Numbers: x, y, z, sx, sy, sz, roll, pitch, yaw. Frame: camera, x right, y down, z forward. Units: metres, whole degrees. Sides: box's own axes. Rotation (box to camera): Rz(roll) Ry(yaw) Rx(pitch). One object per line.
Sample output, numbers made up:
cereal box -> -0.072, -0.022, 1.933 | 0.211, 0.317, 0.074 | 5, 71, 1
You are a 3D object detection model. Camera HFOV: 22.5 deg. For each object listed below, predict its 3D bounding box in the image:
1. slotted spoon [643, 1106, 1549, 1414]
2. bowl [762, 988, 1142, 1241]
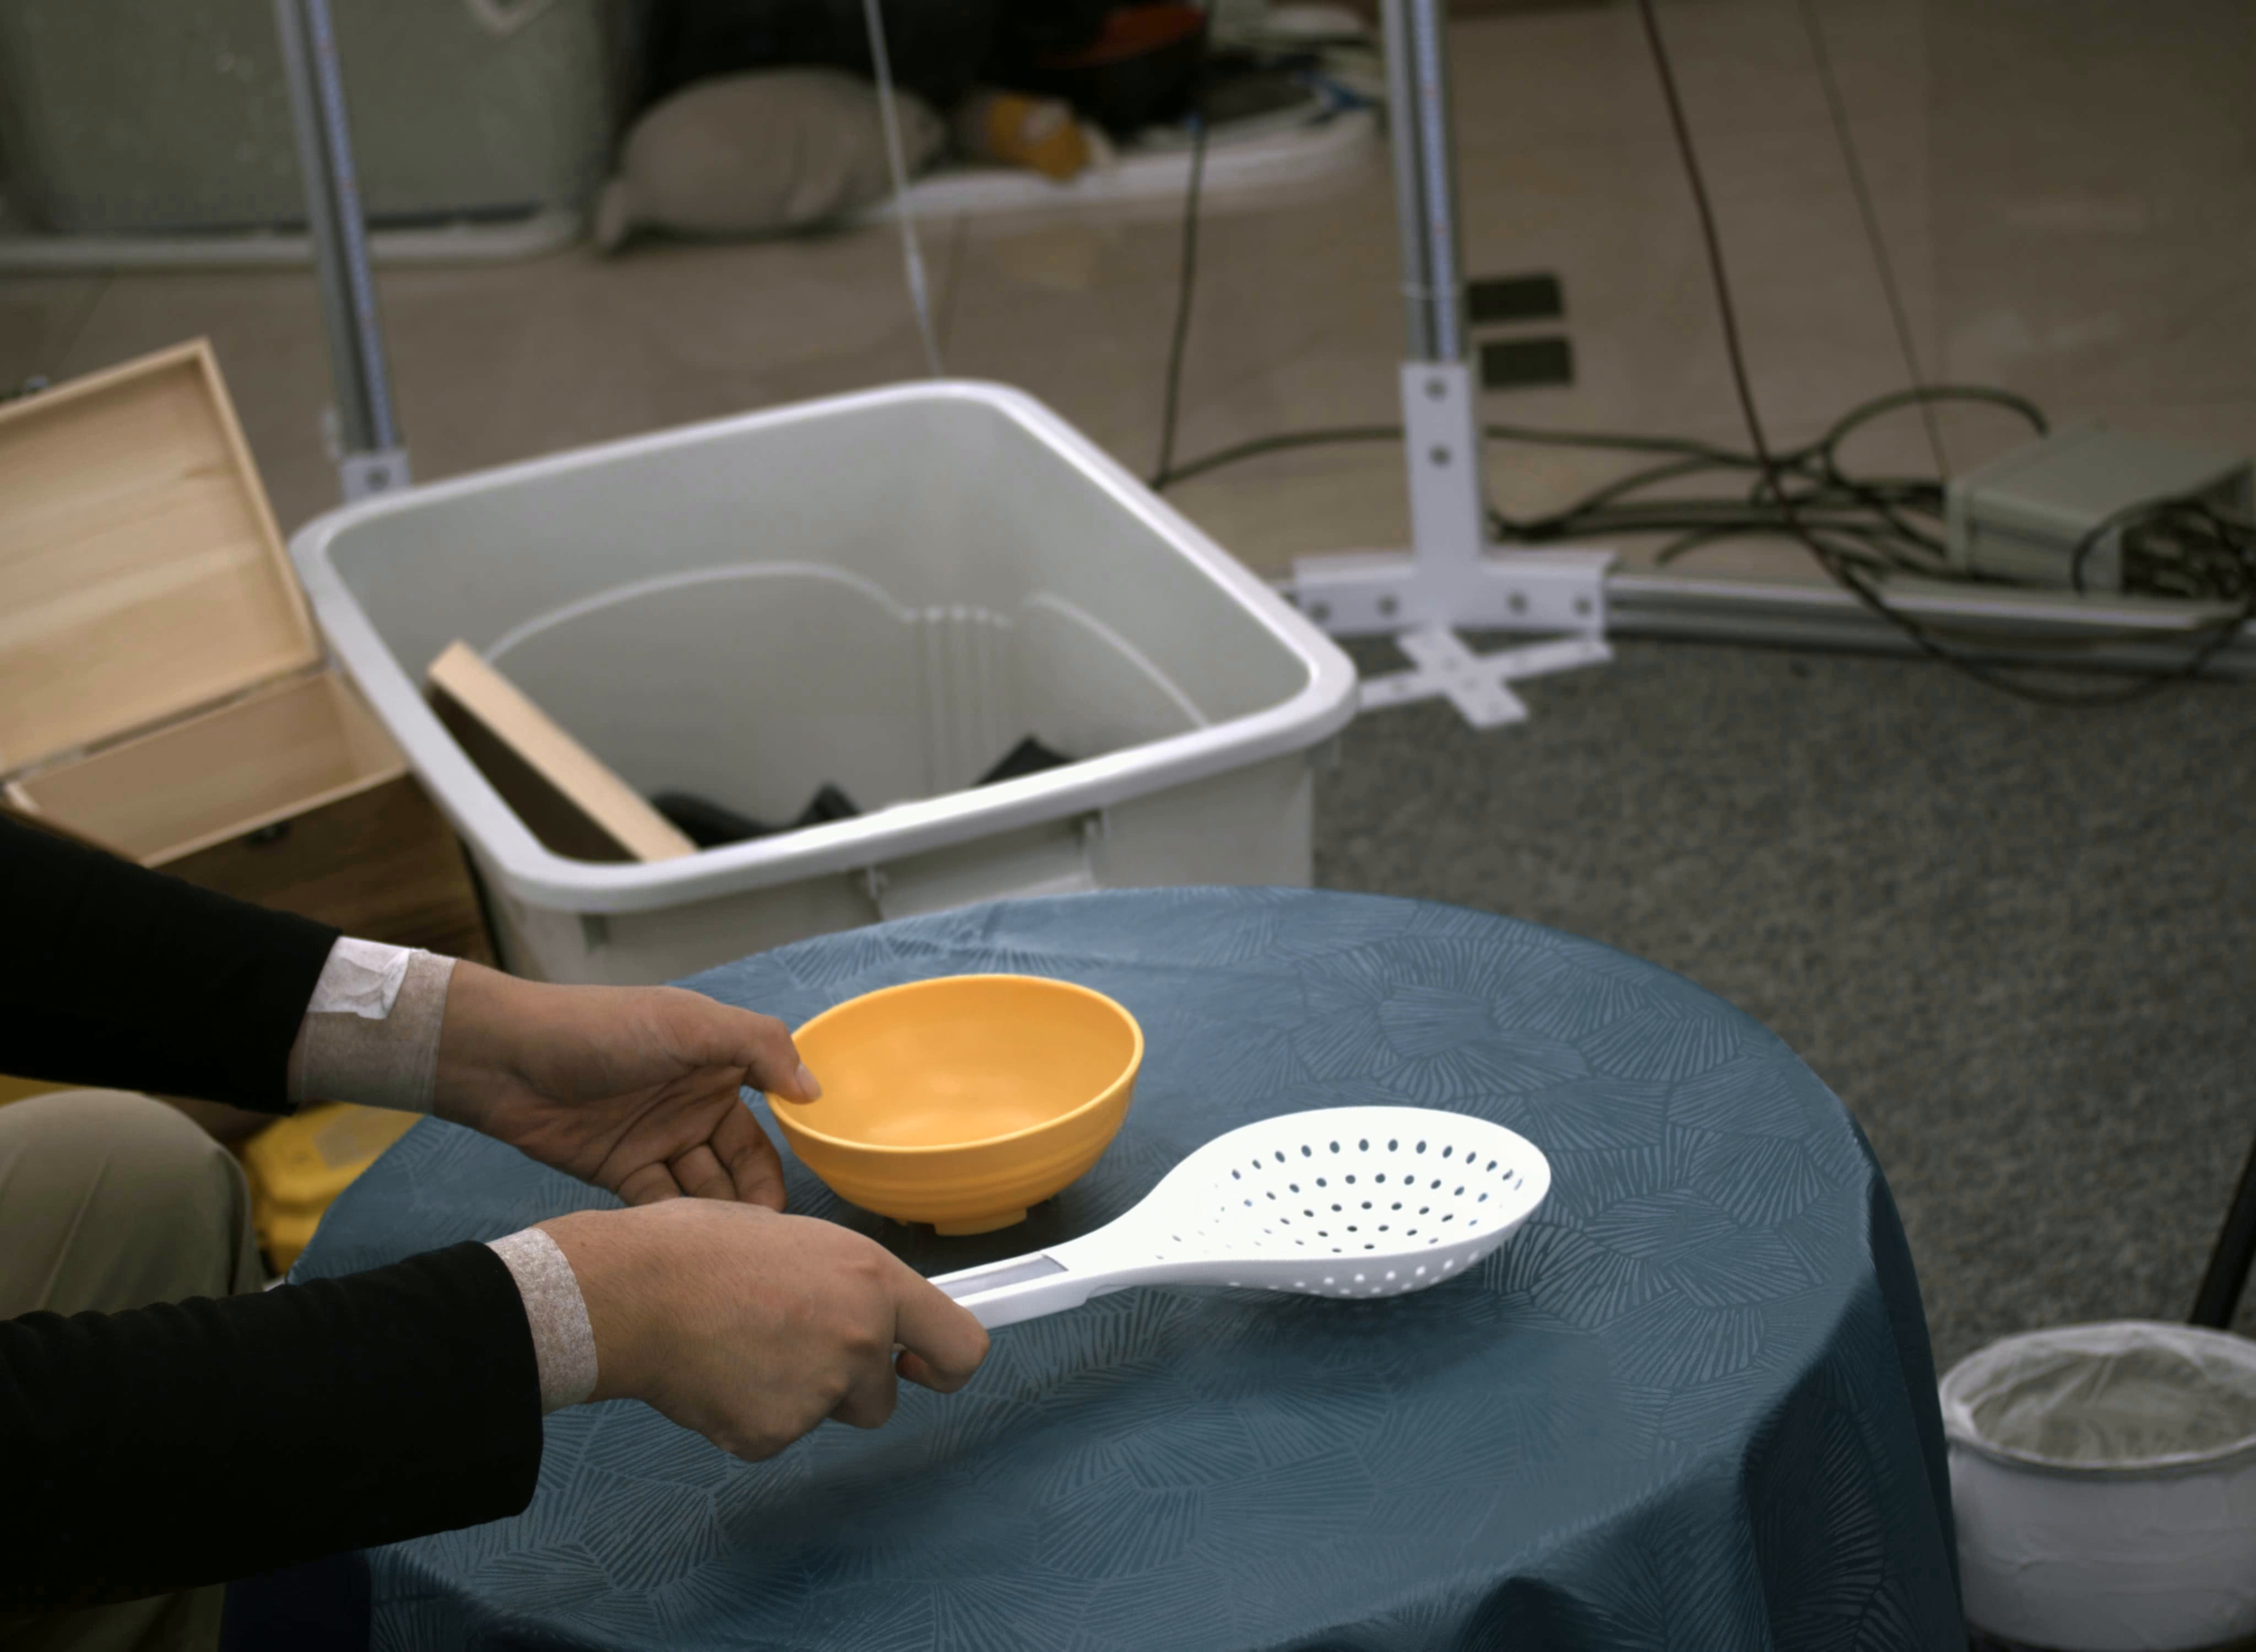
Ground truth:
slotted spoon -> -0.009, 0.156, 2.011 | 0.348, 0.046, 0.135 | -8, 19, -28
bowl -> -0.064, 0.117, 2.146 | 0.145, 0.061, 0.143 | -5, 23, 2
